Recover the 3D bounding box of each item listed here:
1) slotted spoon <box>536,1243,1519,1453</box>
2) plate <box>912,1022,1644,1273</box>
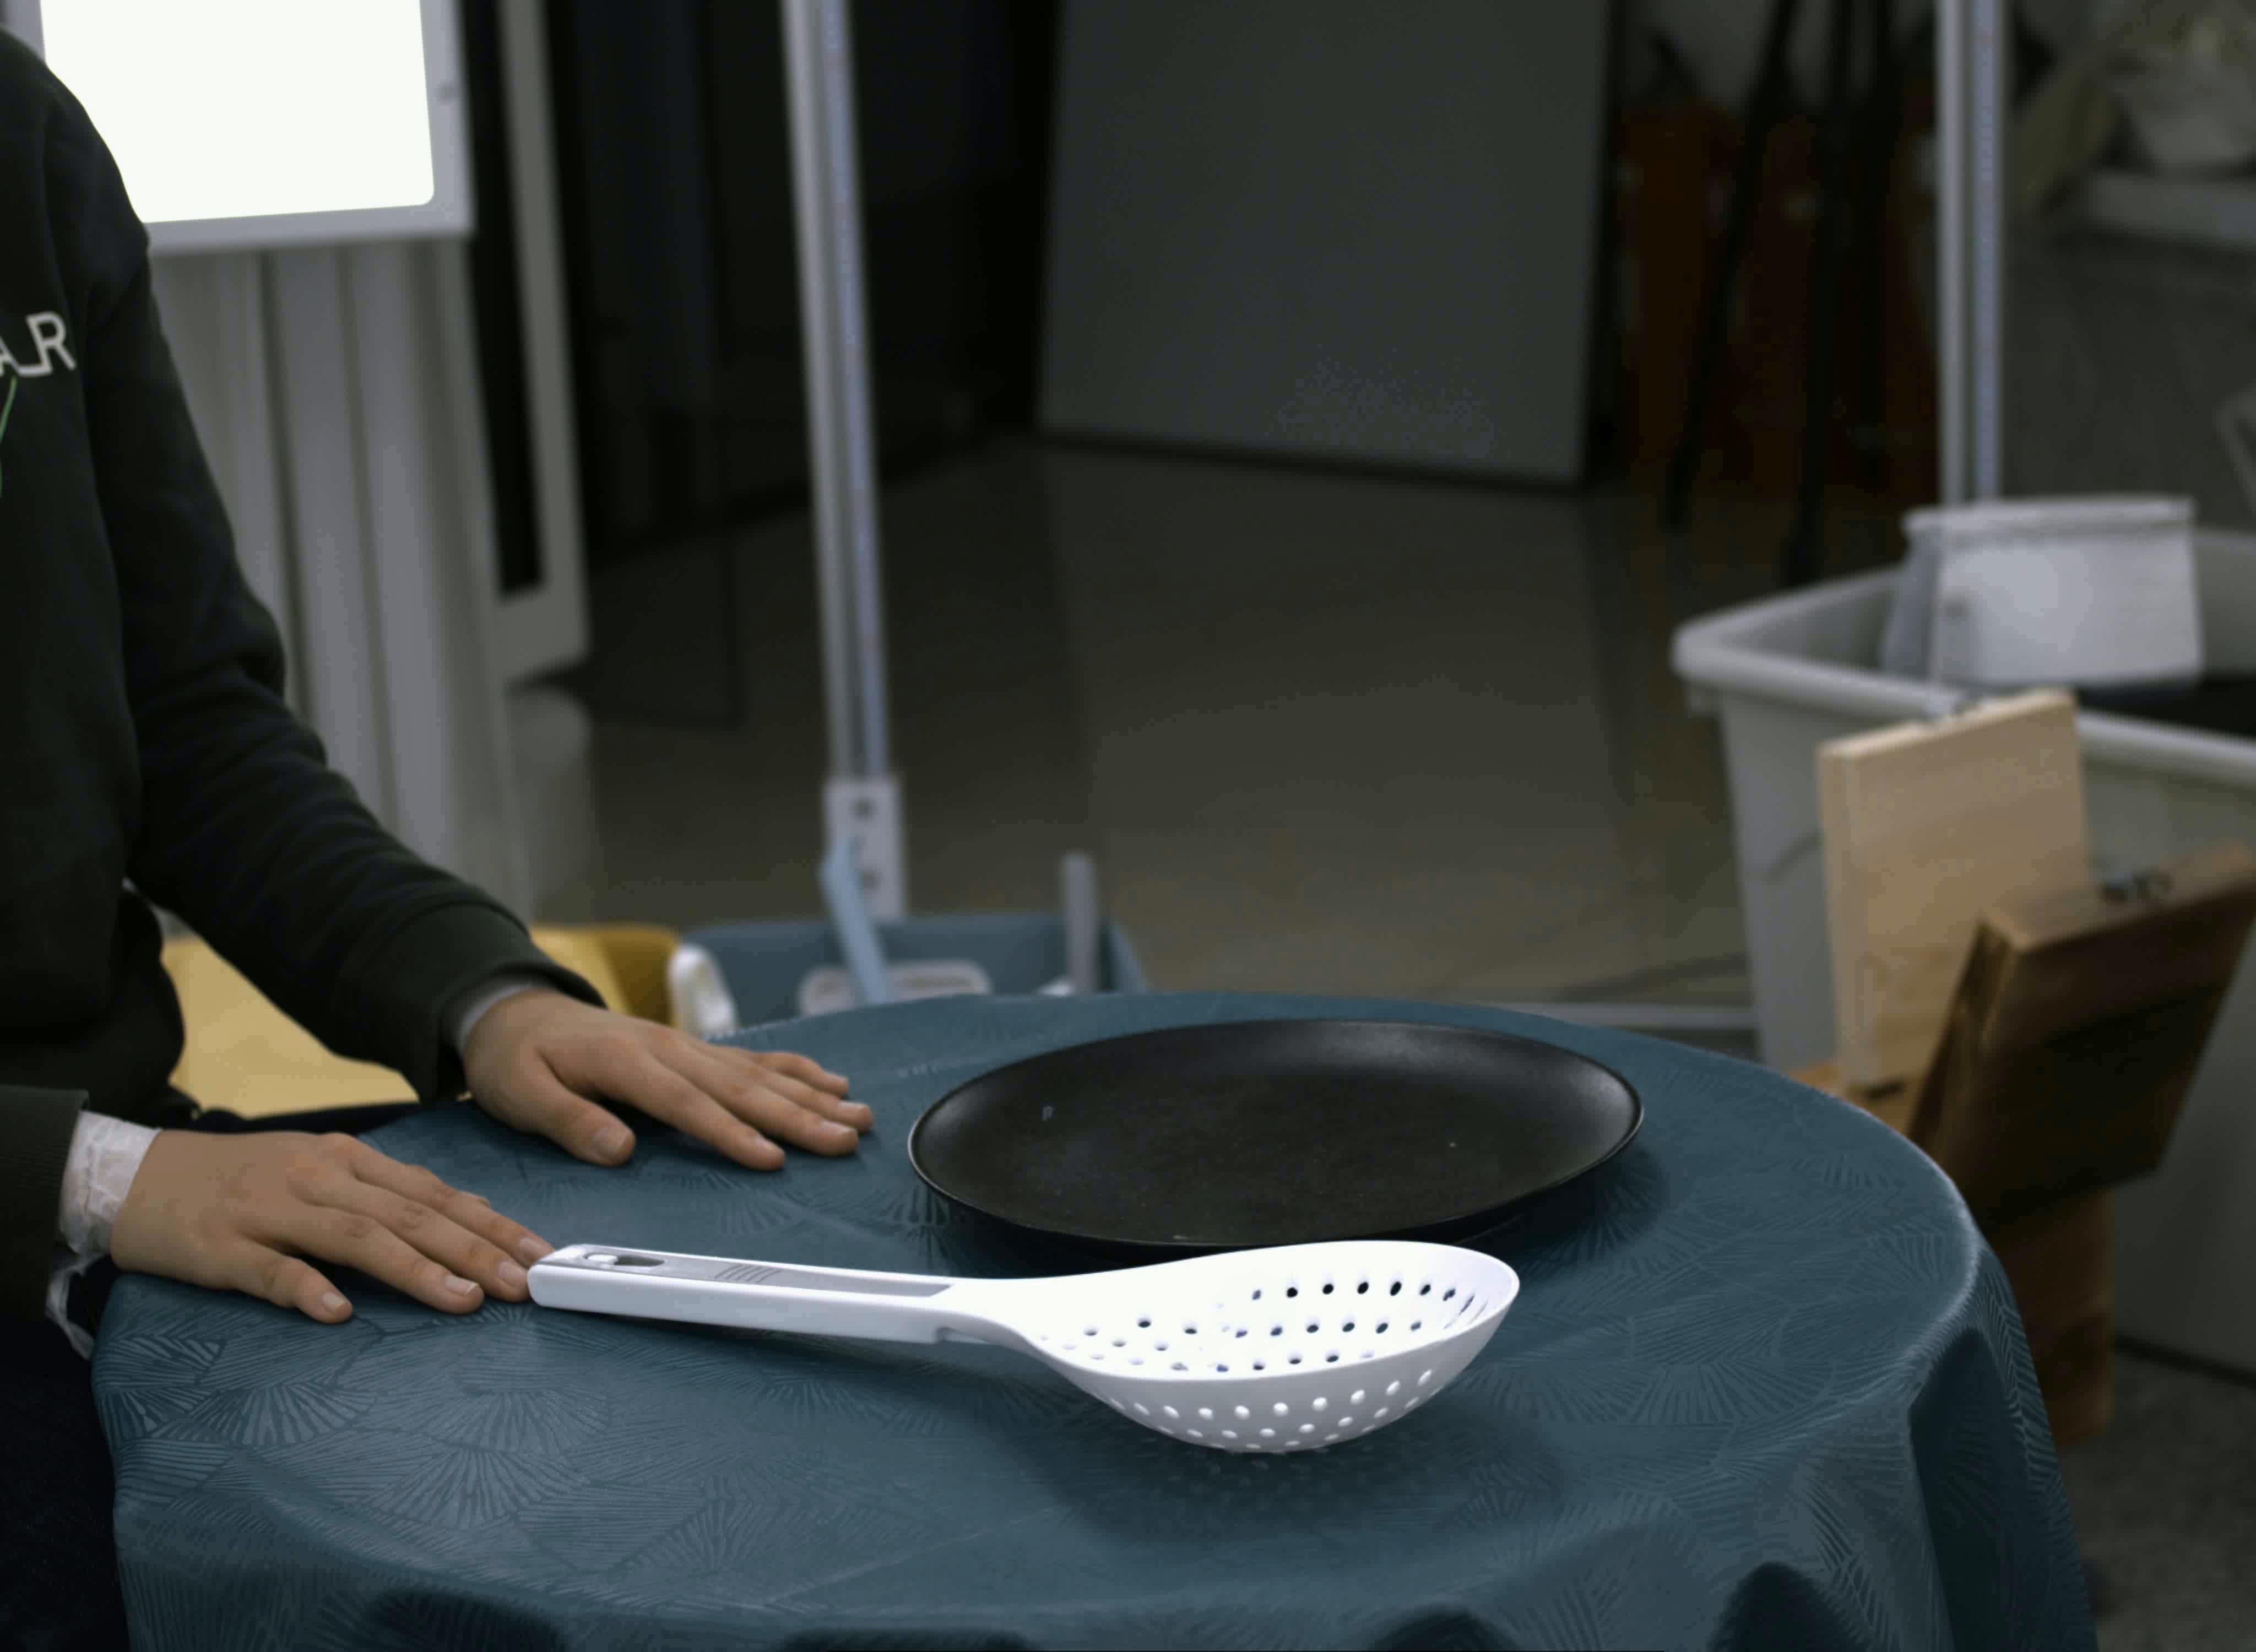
[{"bbox_3d":[-0.041,0.144,1.596,0.352,0.046,0.133,5,14,37],"label":"slotted spoon"},{"bbox_3d":[0.049,0.108,1.763,0.241,0.024,0.245,-4,14,0],"label":"plate"}]
